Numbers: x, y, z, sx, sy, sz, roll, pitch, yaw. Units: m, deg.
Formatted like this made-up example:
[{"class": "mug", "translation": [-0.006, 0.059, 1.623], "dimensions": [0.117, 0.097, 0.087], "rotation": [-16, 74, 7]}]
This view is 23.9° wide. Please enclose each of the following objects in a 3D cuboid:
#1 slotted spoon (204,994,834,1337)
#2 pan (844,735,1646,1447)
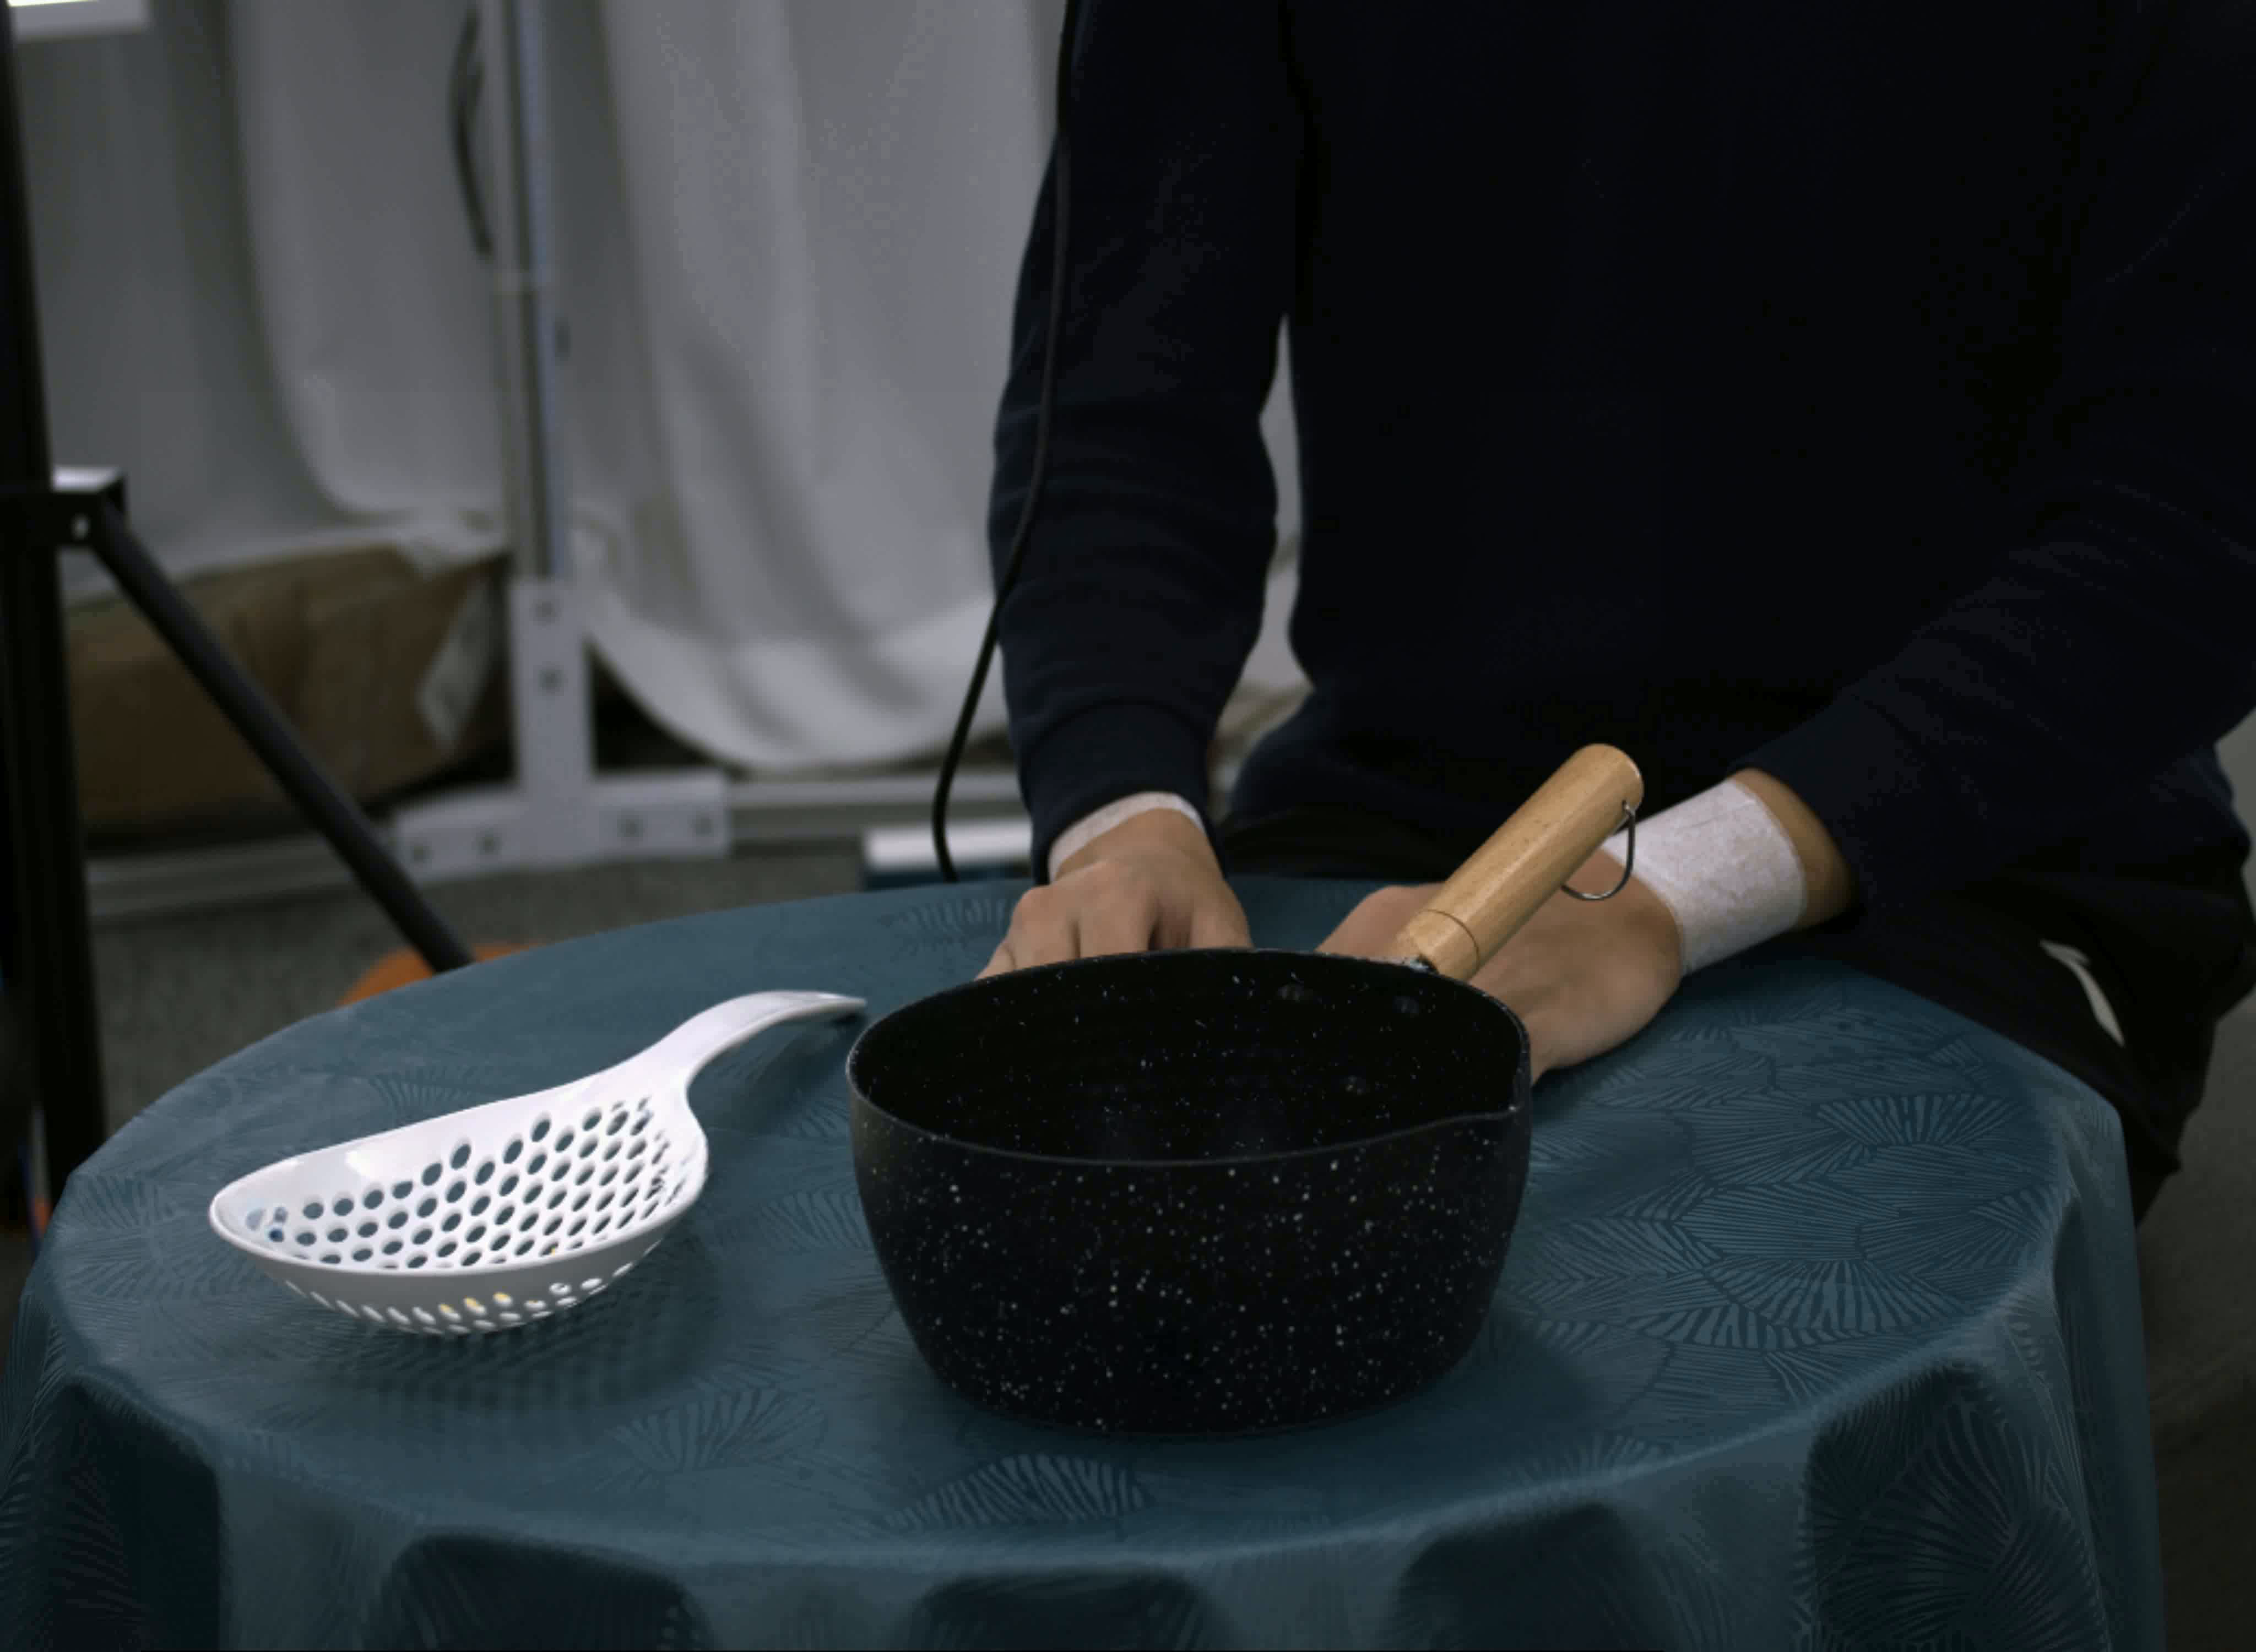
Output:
[{"class": "slotted spoon", "translation": [-0.149, 0.087, 1.579], "dimensions": [0.138, 0.050, 0.344], "rotation": [1, 18, 19]}, {"class": "pan", "translation": [0.058, 0.069, 1.489], "dimensions": [0.211, 0.108, 0.336], "rotation": [6, 19, 32]}]
